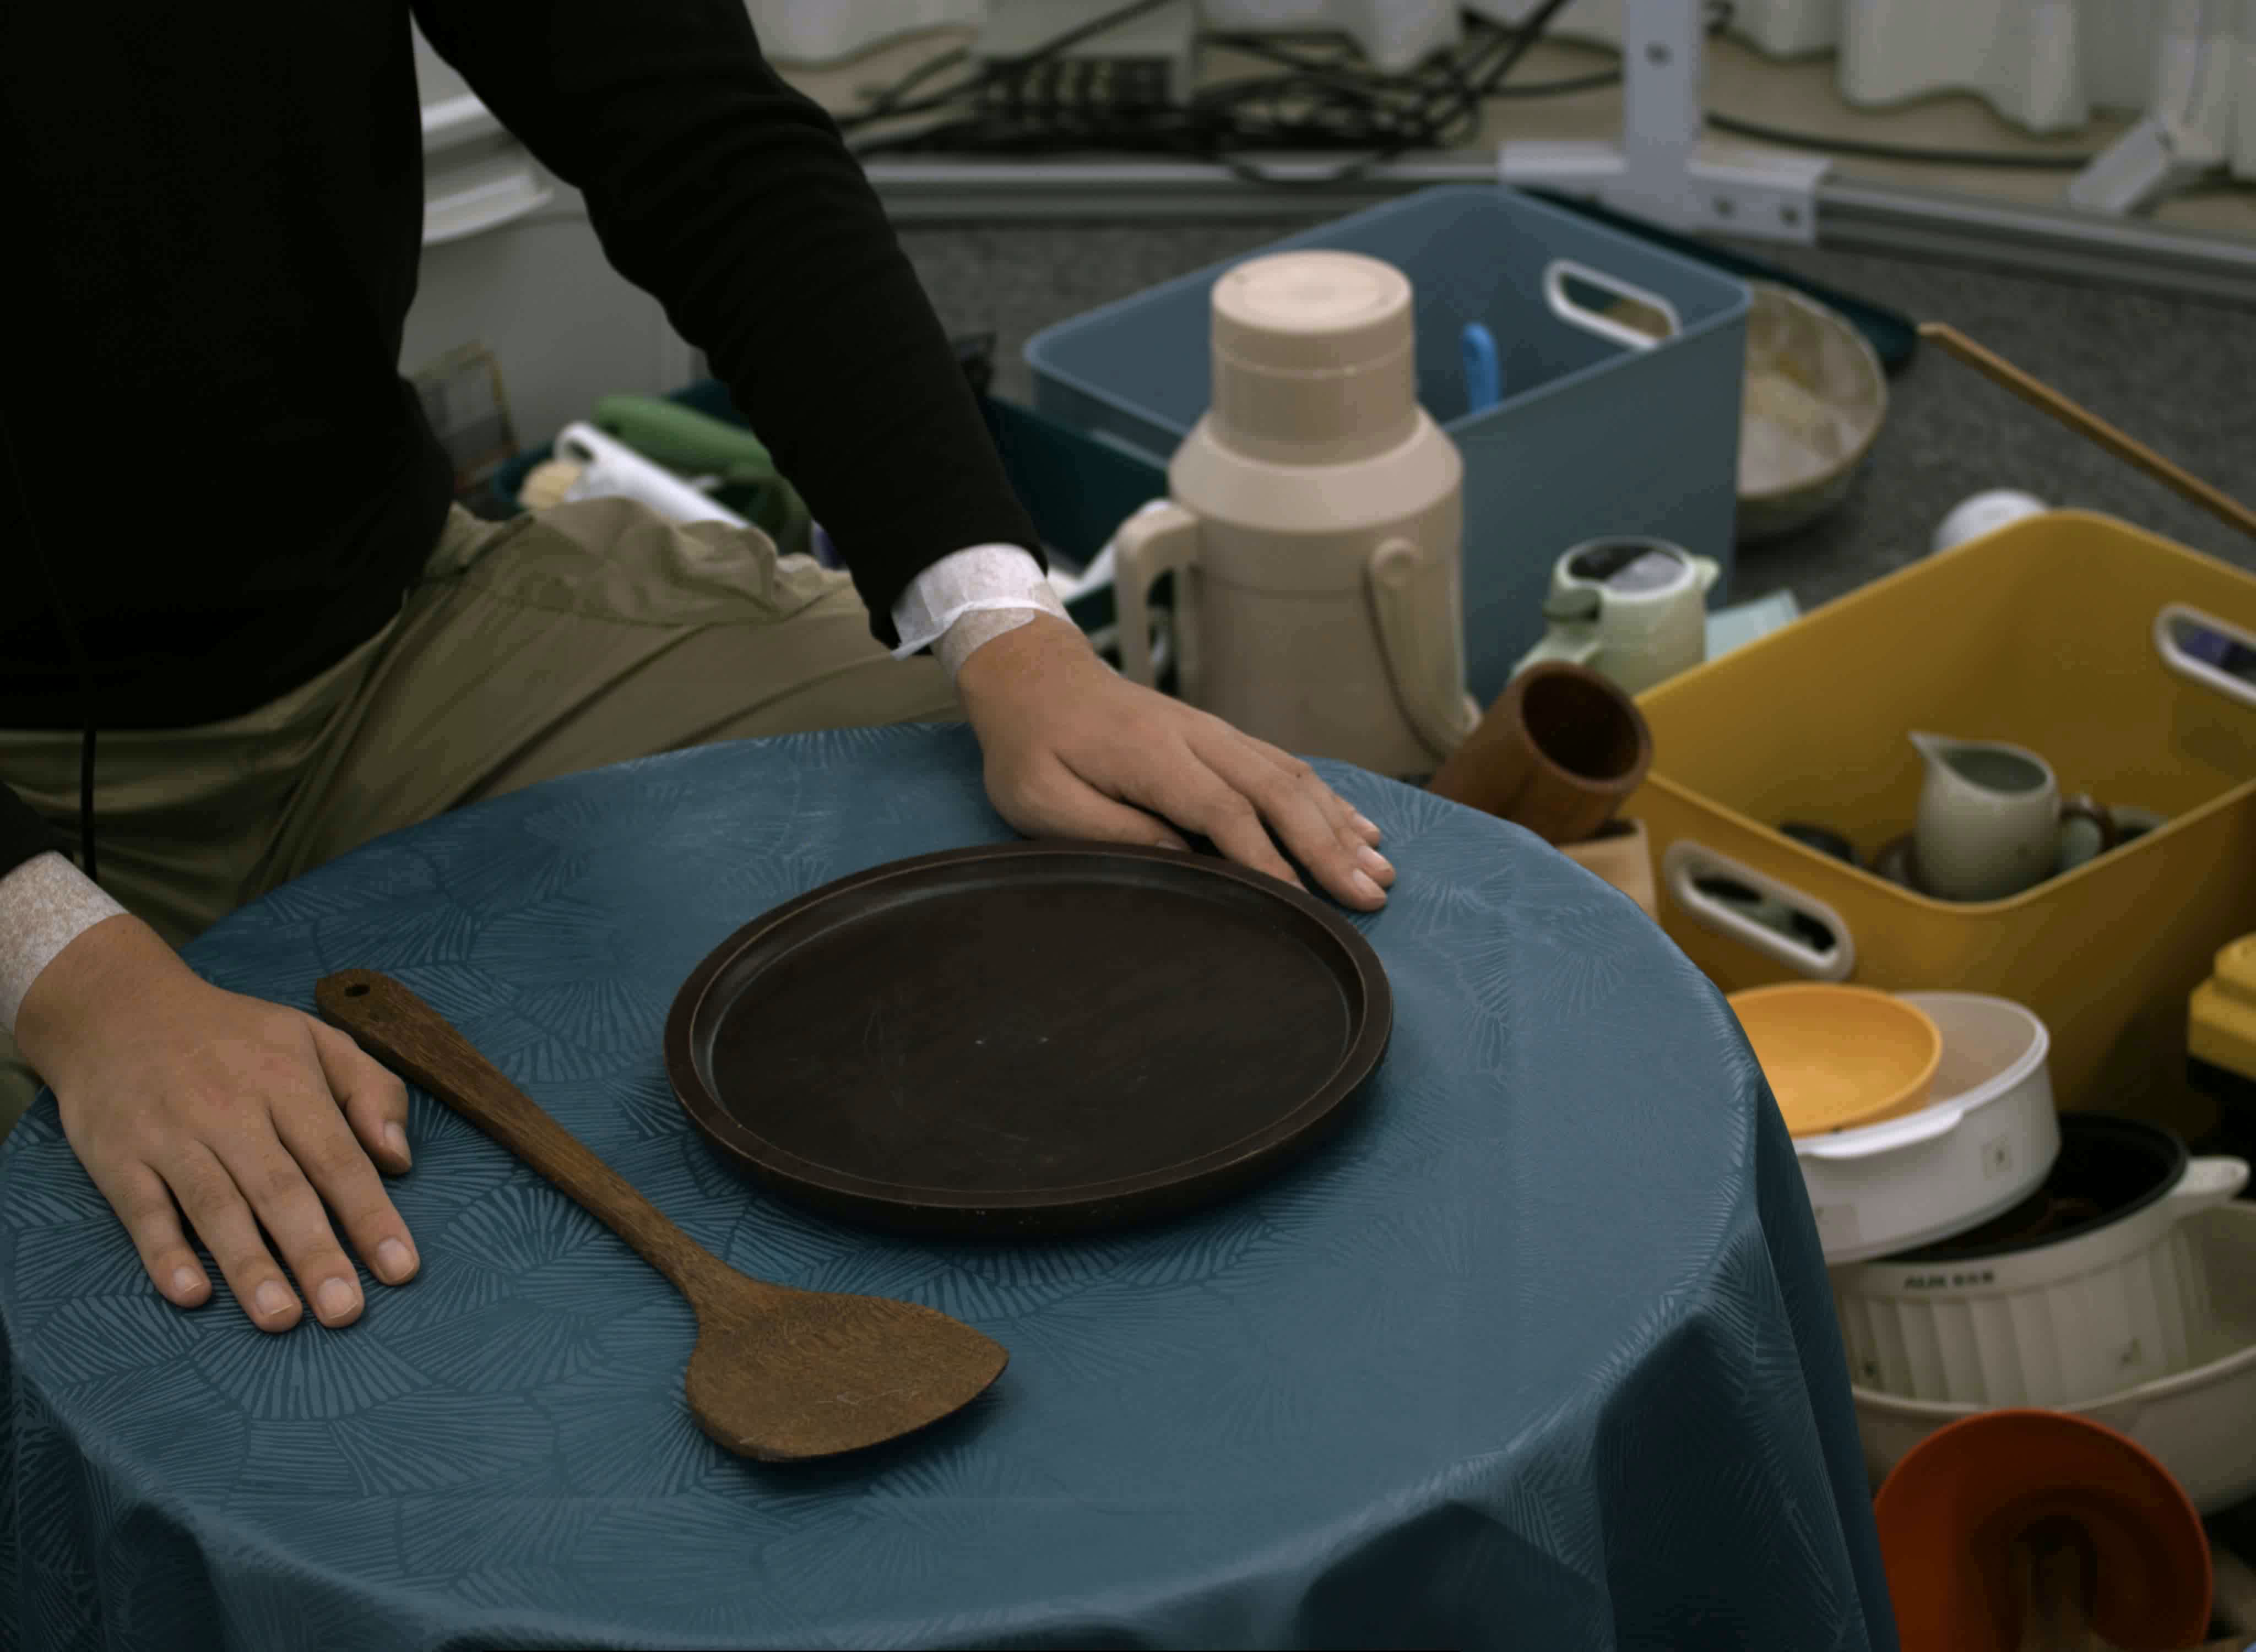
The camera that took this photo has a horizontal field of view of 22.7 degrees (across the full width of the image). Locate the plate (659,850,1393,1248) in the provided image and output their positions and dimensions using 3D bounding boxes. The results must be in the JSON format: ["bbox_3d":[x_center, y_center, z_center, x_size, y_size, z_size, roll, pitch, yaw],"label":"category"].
[{"bbox_3d":[-0.035,0.074,1.932,0.253,0.029,0.259,-1,28,1],"label":"plate"}]

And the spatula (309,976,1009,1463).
[{"bbox_3d":[-0.176,0.122,1.863,0.097,0.015,0.387,-19,31,-30],"label":"spatula"}]
